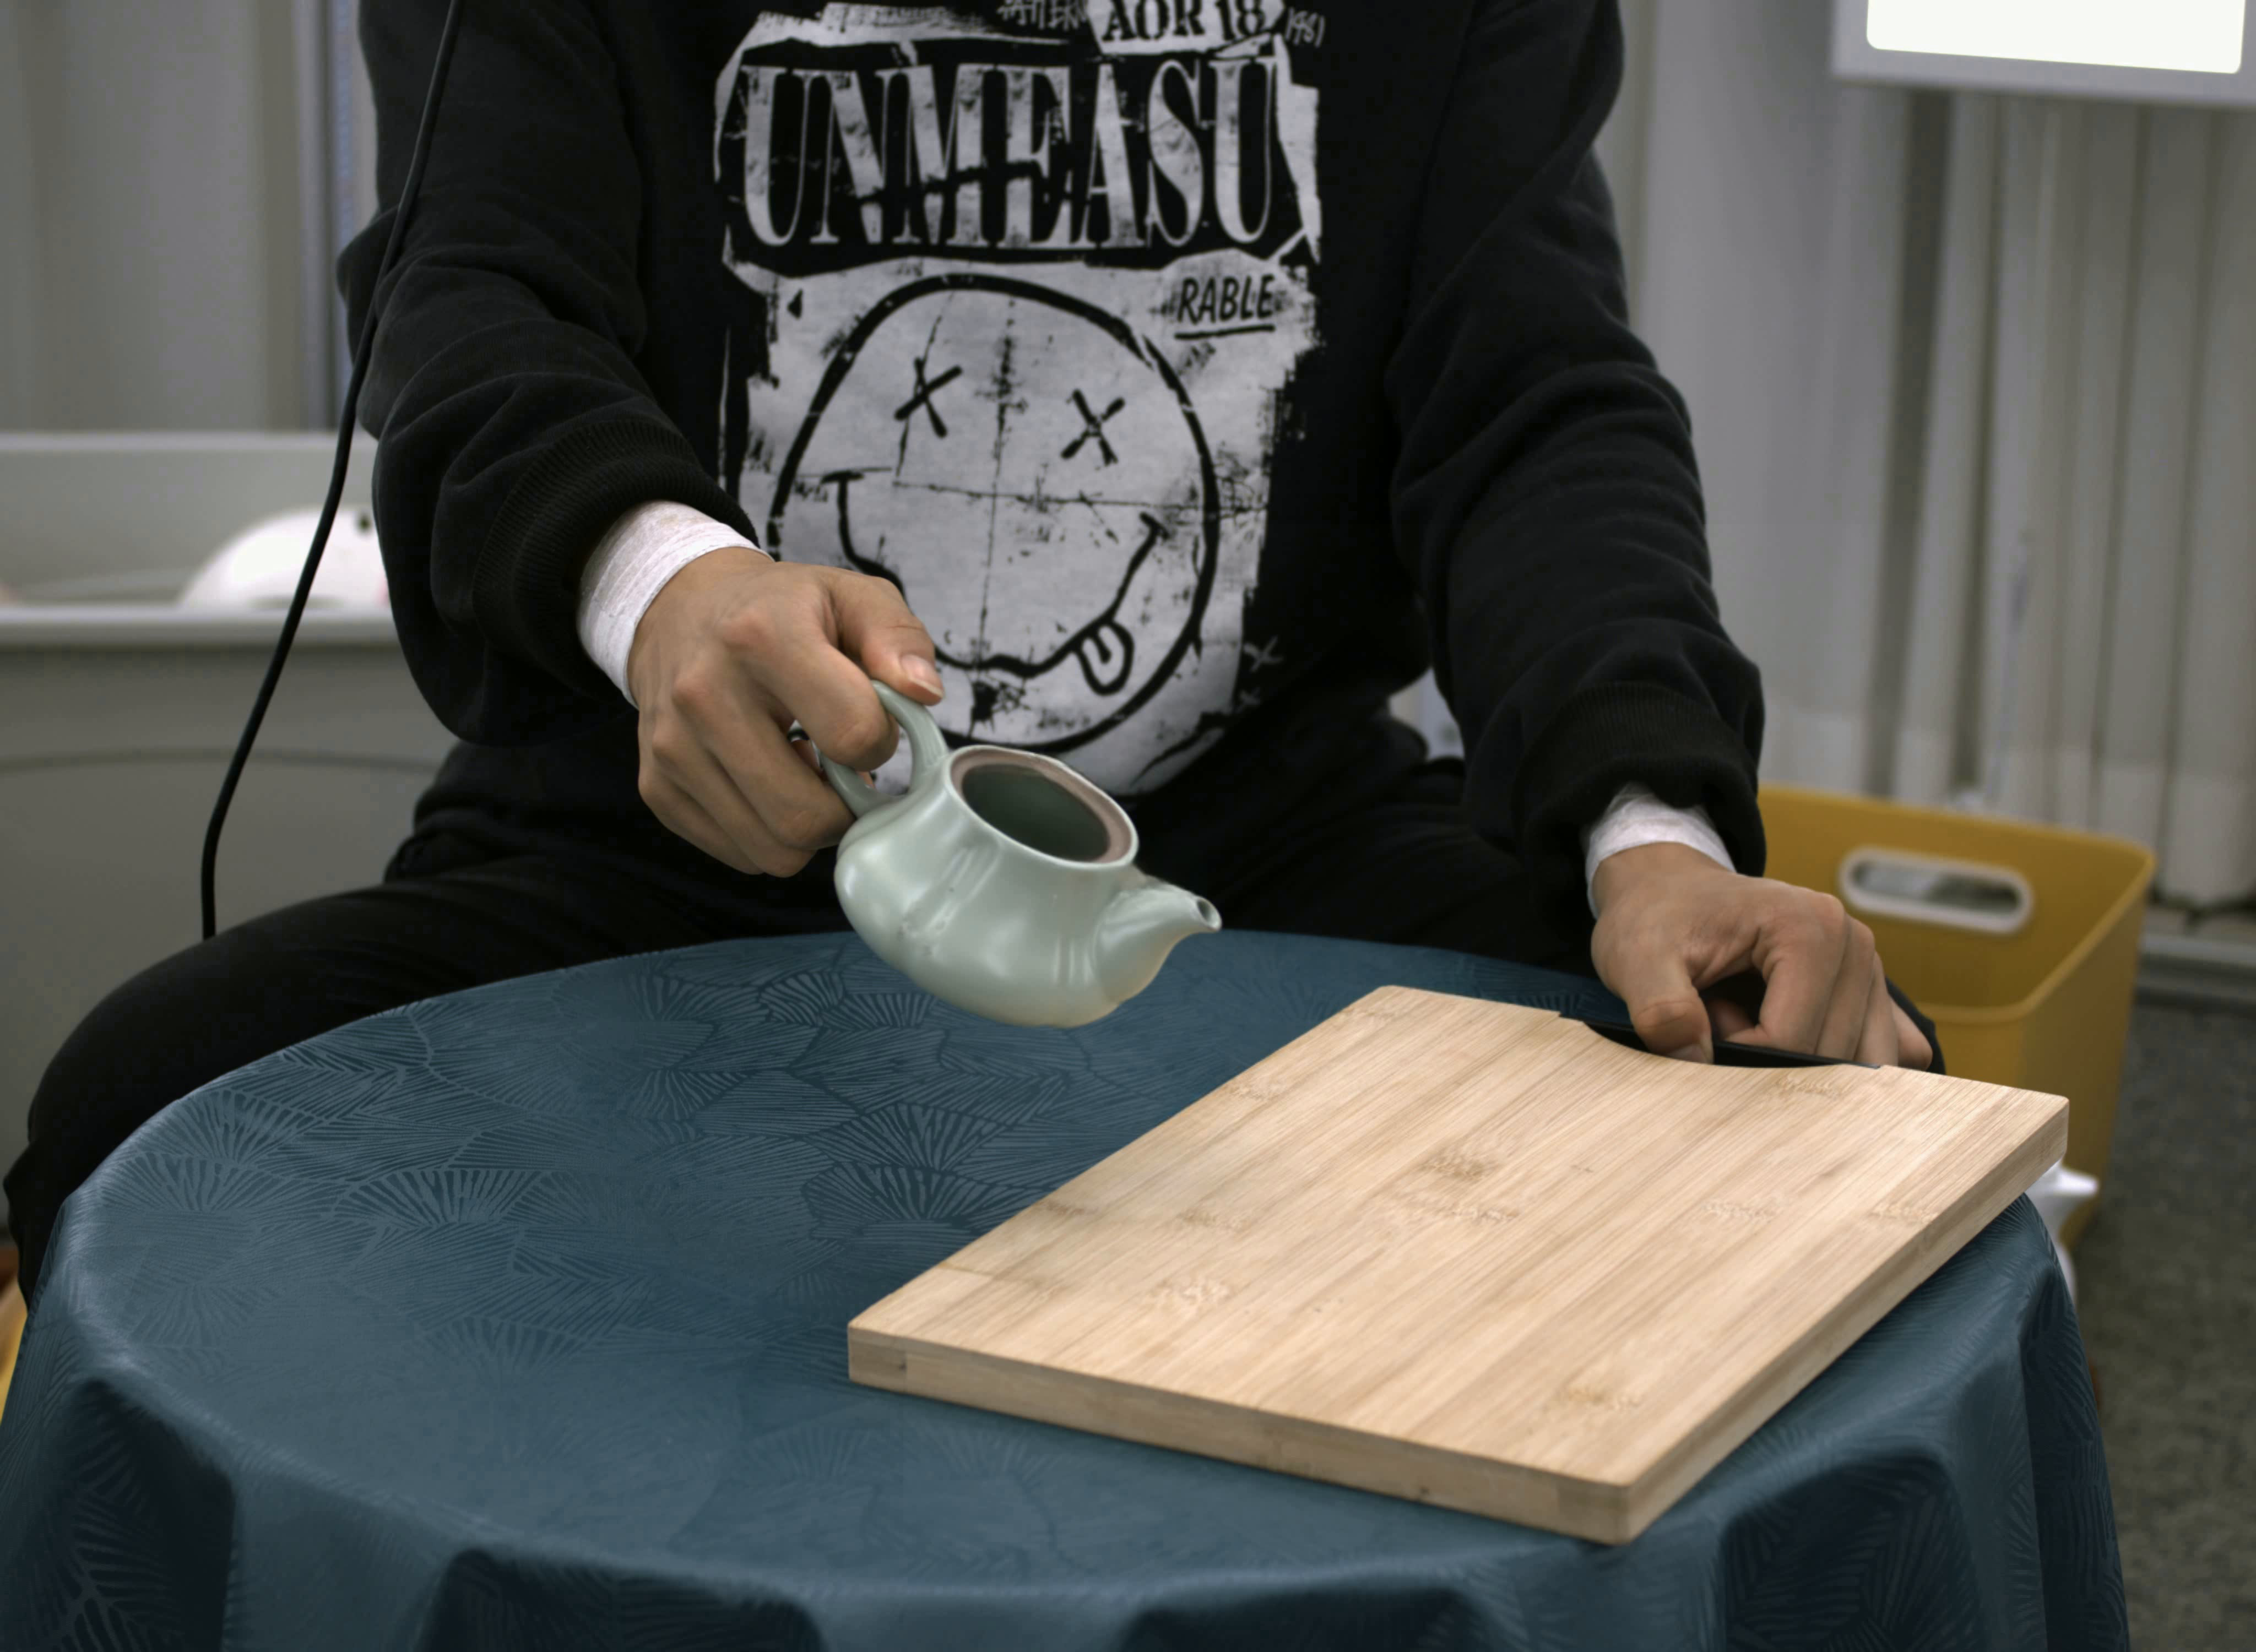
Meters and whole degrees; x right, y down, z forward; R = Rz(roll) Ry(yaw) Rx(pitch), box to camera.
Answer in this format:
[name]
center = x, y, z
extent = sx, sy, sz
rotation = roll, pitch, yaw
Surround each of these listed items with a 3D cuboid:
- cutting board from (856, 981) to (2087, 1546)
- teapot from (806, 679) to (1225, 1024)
[cutting board]
center = 0.110, 0.119, 1.558
extent = 0.248, 0.024, 0.349
rotation = 9, 19, 26
[teapot]
center = -0.040, 0.011, 1.533
extent = 0.136, 0.062, 0.096
rotation = 34, 28, 12
